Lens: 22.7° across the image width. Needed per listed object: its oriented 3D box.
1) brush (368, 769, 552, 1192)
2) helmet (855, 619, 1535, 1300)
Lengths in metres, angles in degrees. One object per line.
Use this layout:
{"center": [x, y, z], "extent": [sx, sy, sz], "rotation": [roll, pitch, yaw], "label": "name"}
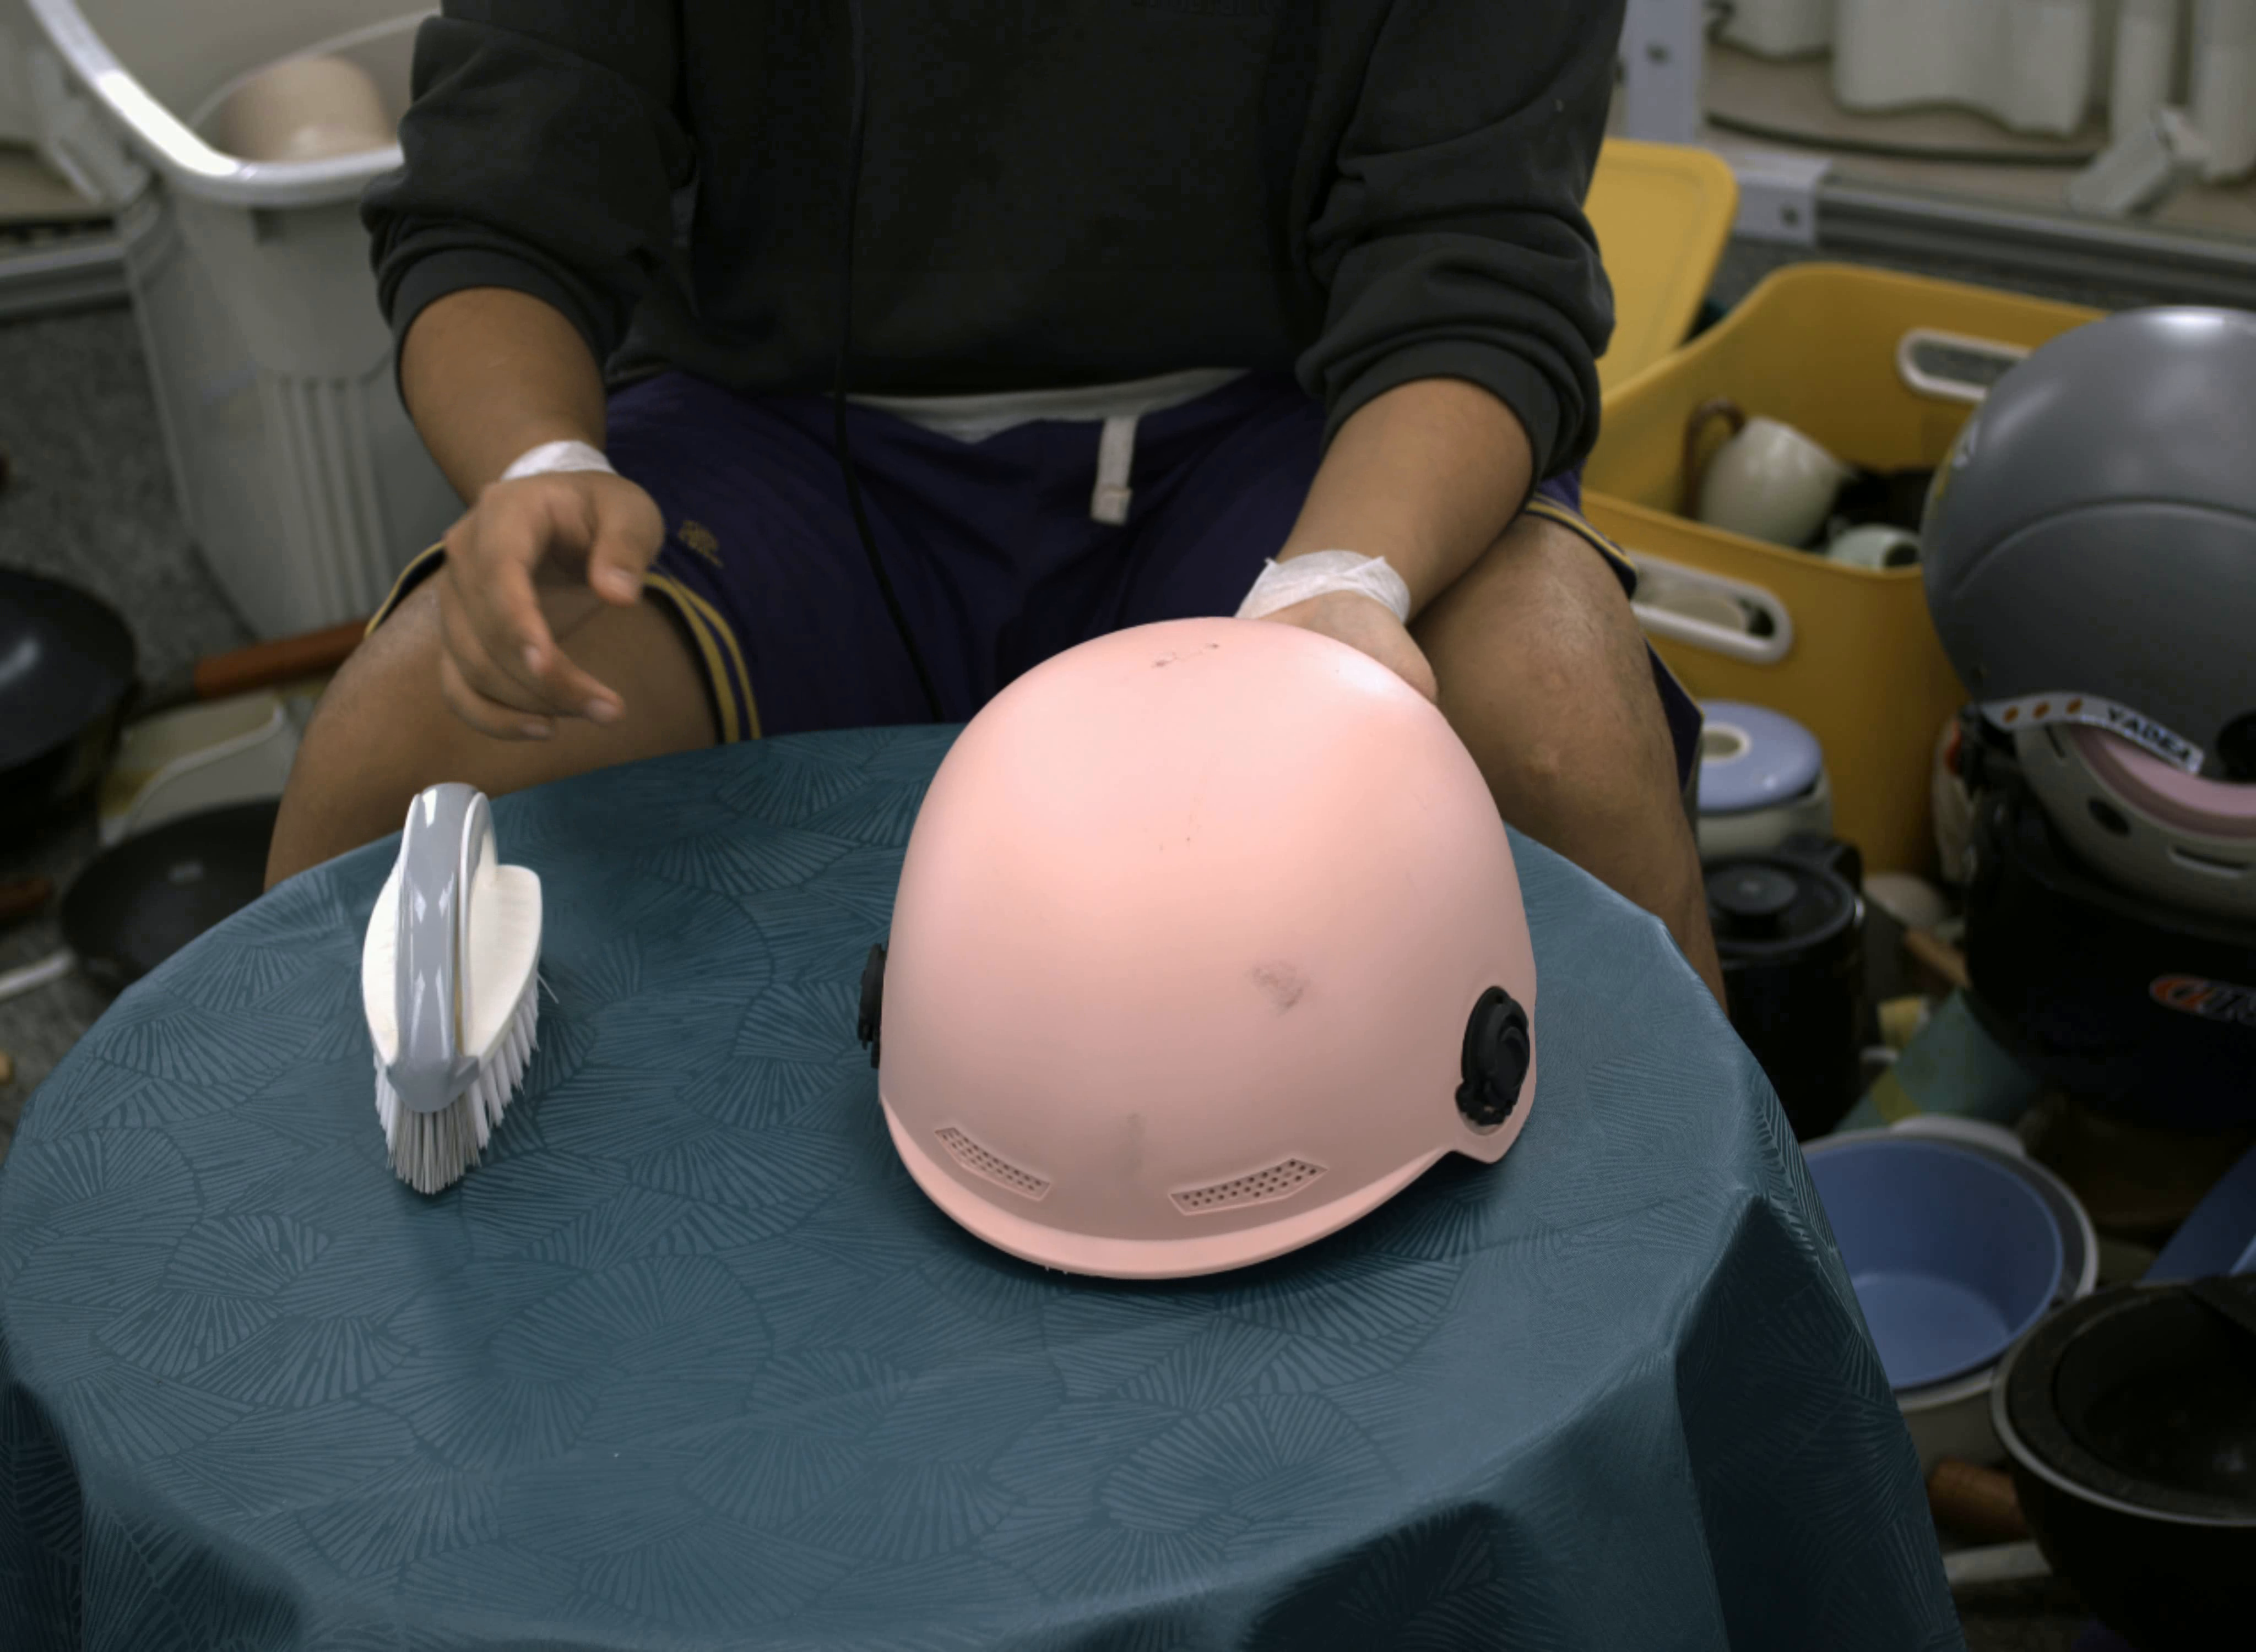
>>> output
{"center": [-0.234, 0.045, 1.935], "extent": [0.061, 0.093, 0.178], "rotation": [-4, 29, 0], "label": "brush"}
{"center": [0.022, 0.025, 1.885], "extent": [0.232, 0.157, 0.271], "rotation": [5, 32, 14], "label": "helmet"}
